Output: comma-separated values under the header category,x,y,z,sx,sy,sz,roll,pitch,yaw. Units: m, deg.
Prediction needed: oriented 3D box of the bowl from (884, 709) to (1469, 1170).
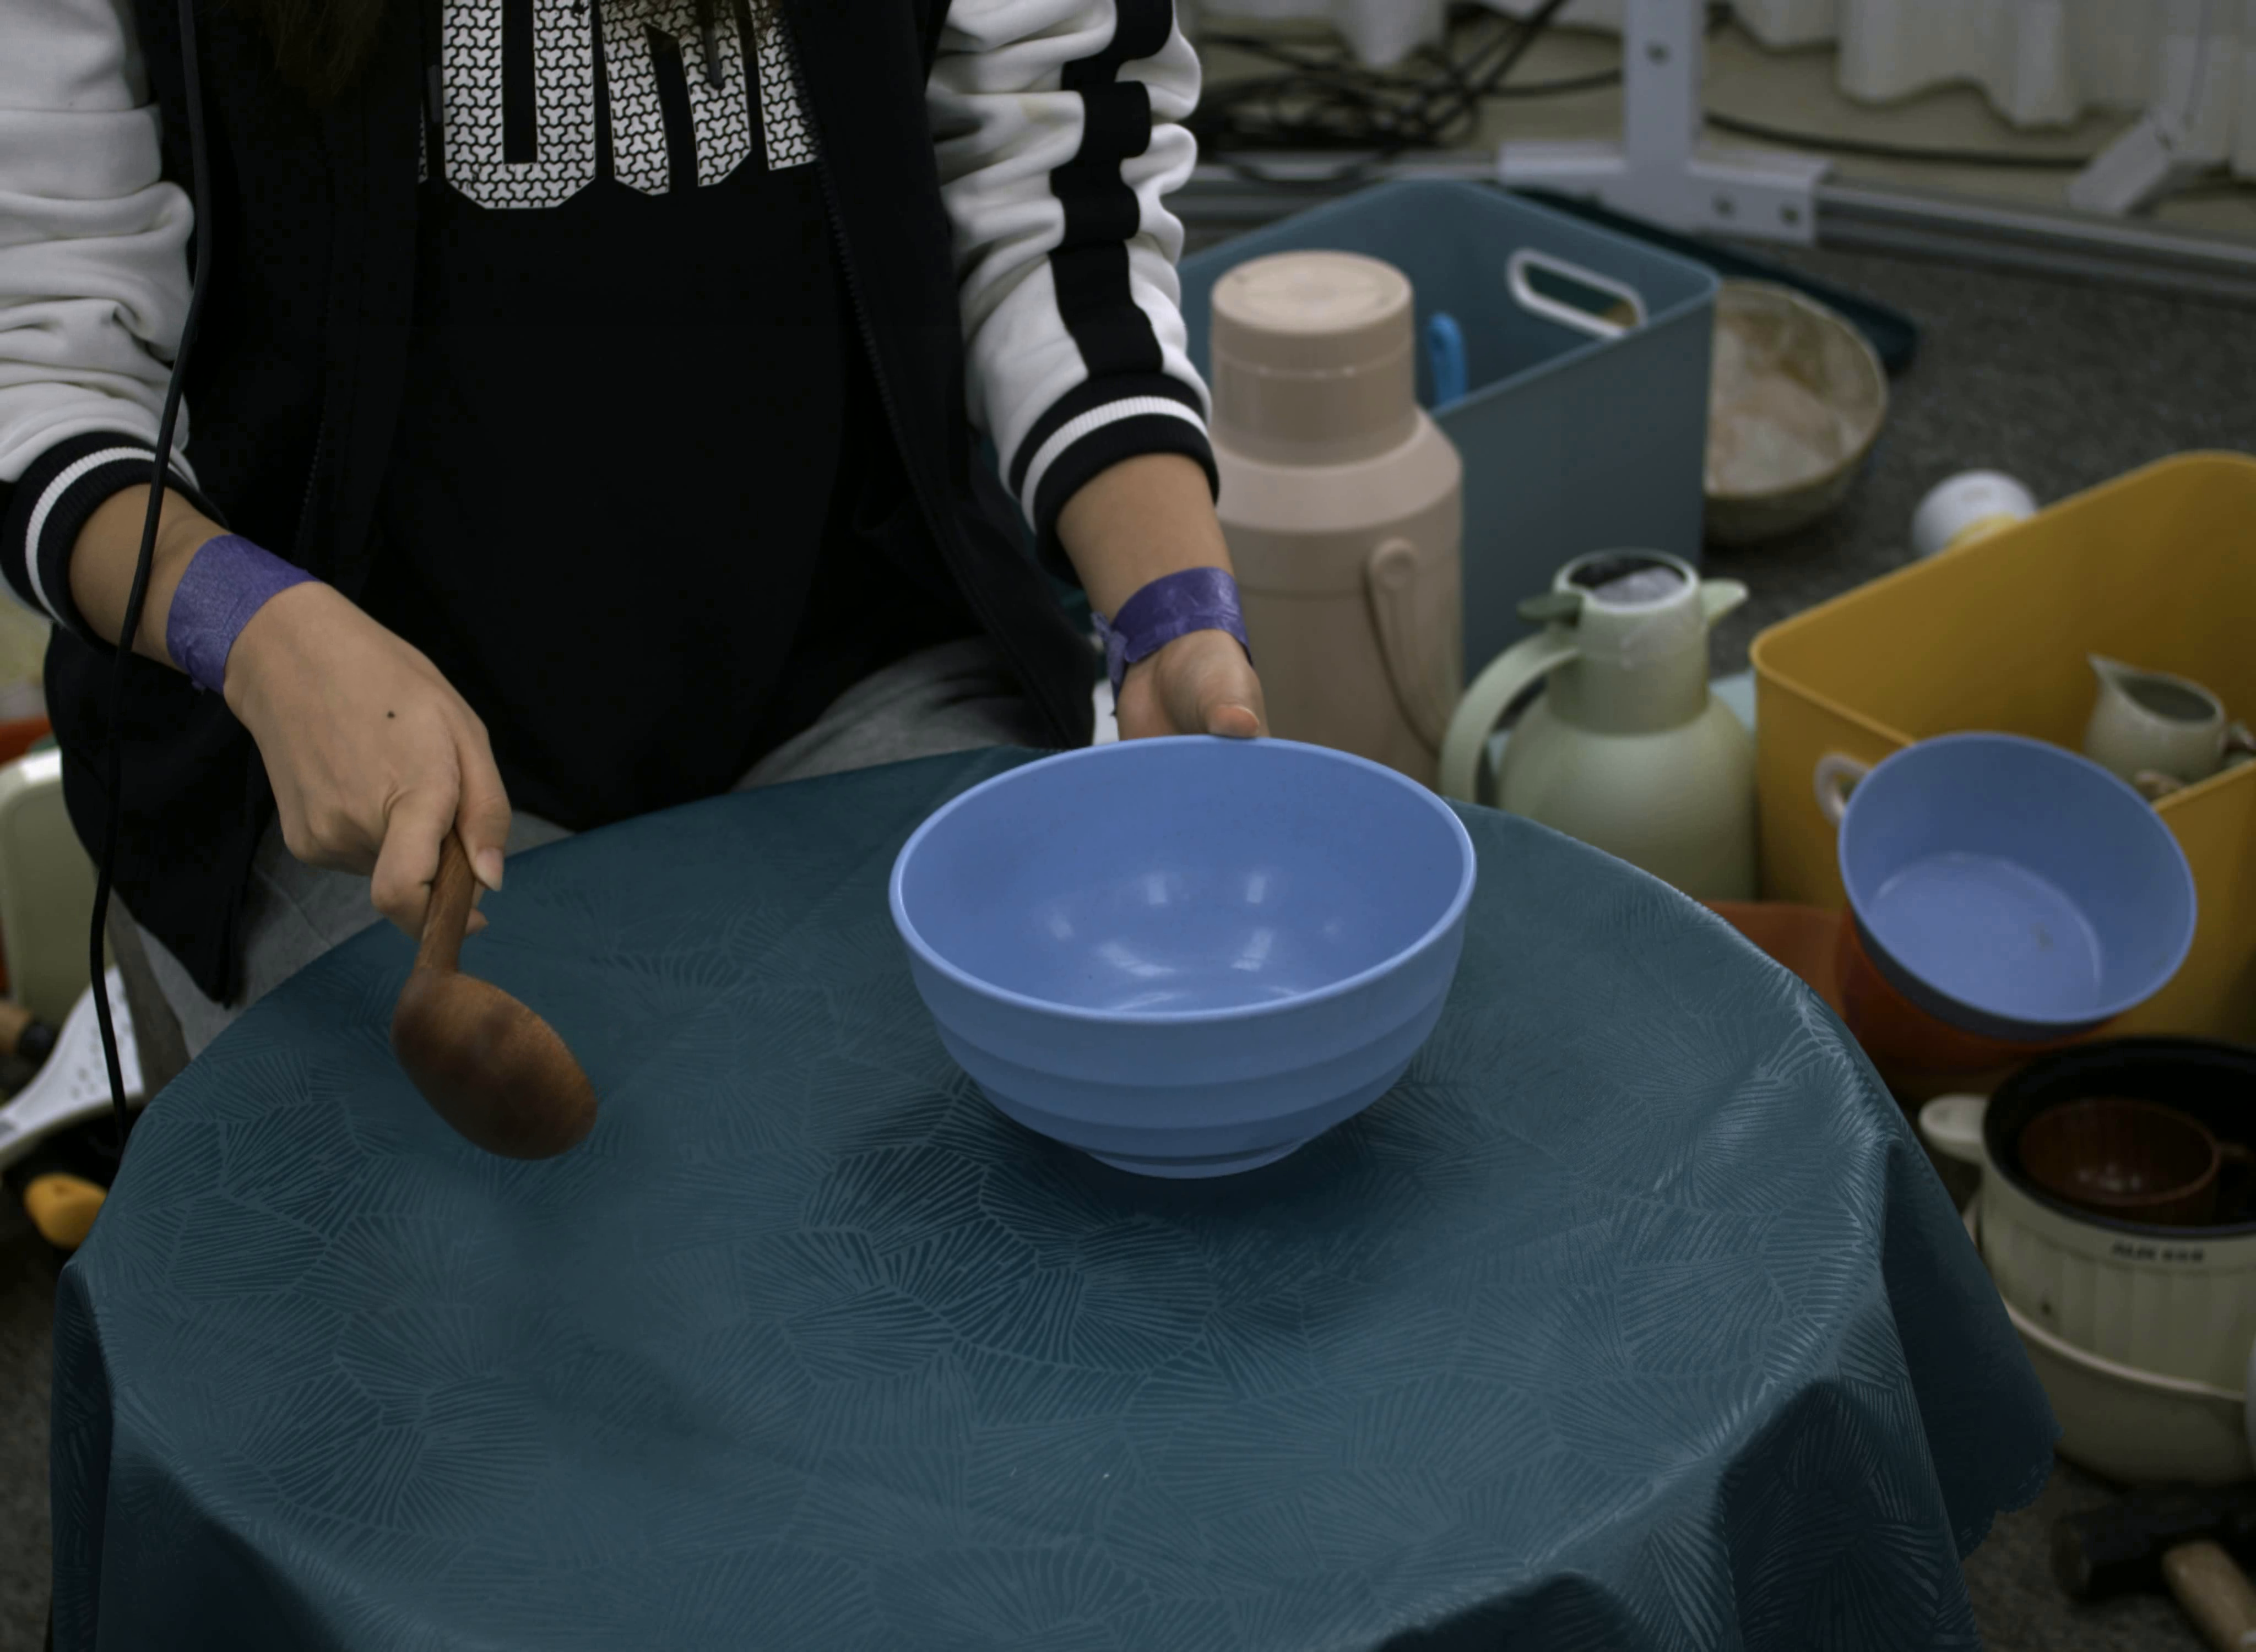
category,x,y,z,sx,sy,sz,roll,pitch,yaw
bowl,0.021,0.051,1.894,0.195,0.094,0.200,-5,32,4

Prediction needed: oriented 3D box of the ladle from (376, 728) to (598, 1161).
category,x,y,z,sx,sy,sz,roll,pitch,yaw
ladle,-0.214,0.026,1.847,0.065,0.076,0.264,-25,30,6
